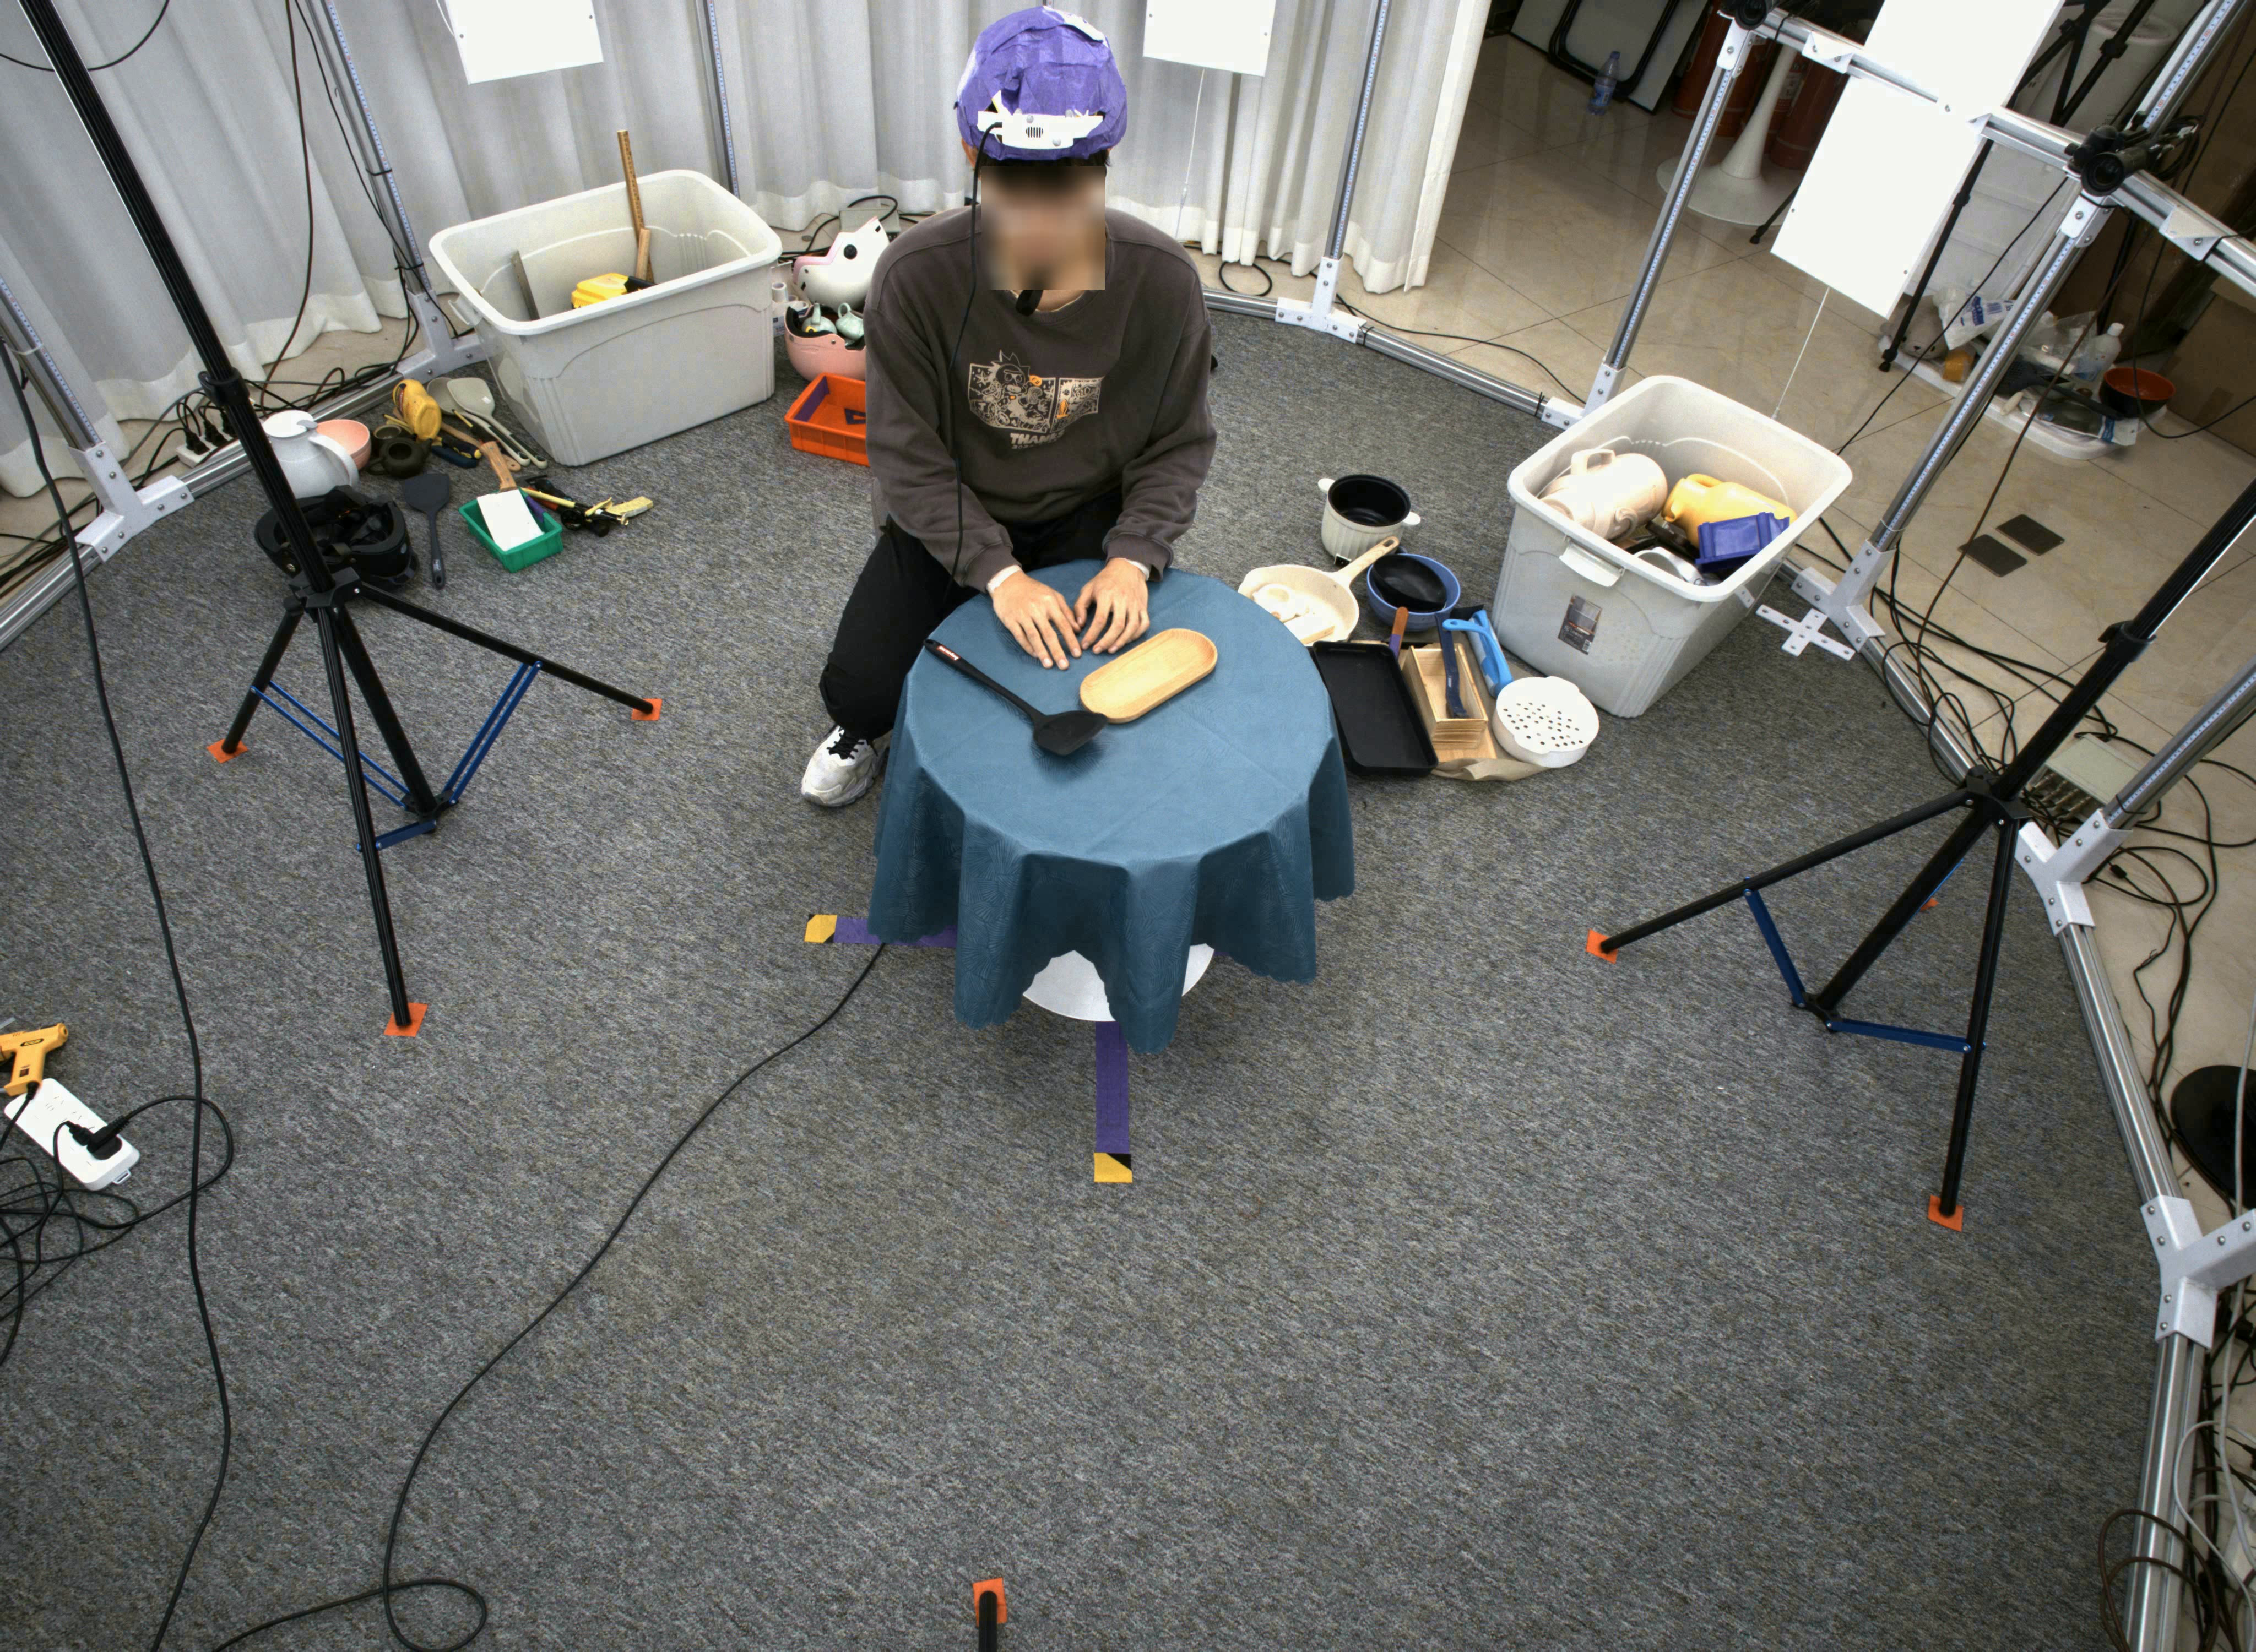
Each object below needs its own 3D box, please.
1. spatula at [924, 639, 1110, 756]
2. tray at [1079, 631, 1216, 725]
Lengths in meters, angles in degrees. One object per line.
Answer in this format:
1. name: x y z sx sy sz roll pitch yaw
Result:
1. spatula: -0.172 -0.191 1.798 0.330 0.039 0.101 36 55 25
2. tray: 0.030 -0.215 1.844 0.233 0.020 0.103 -34 58 -27
